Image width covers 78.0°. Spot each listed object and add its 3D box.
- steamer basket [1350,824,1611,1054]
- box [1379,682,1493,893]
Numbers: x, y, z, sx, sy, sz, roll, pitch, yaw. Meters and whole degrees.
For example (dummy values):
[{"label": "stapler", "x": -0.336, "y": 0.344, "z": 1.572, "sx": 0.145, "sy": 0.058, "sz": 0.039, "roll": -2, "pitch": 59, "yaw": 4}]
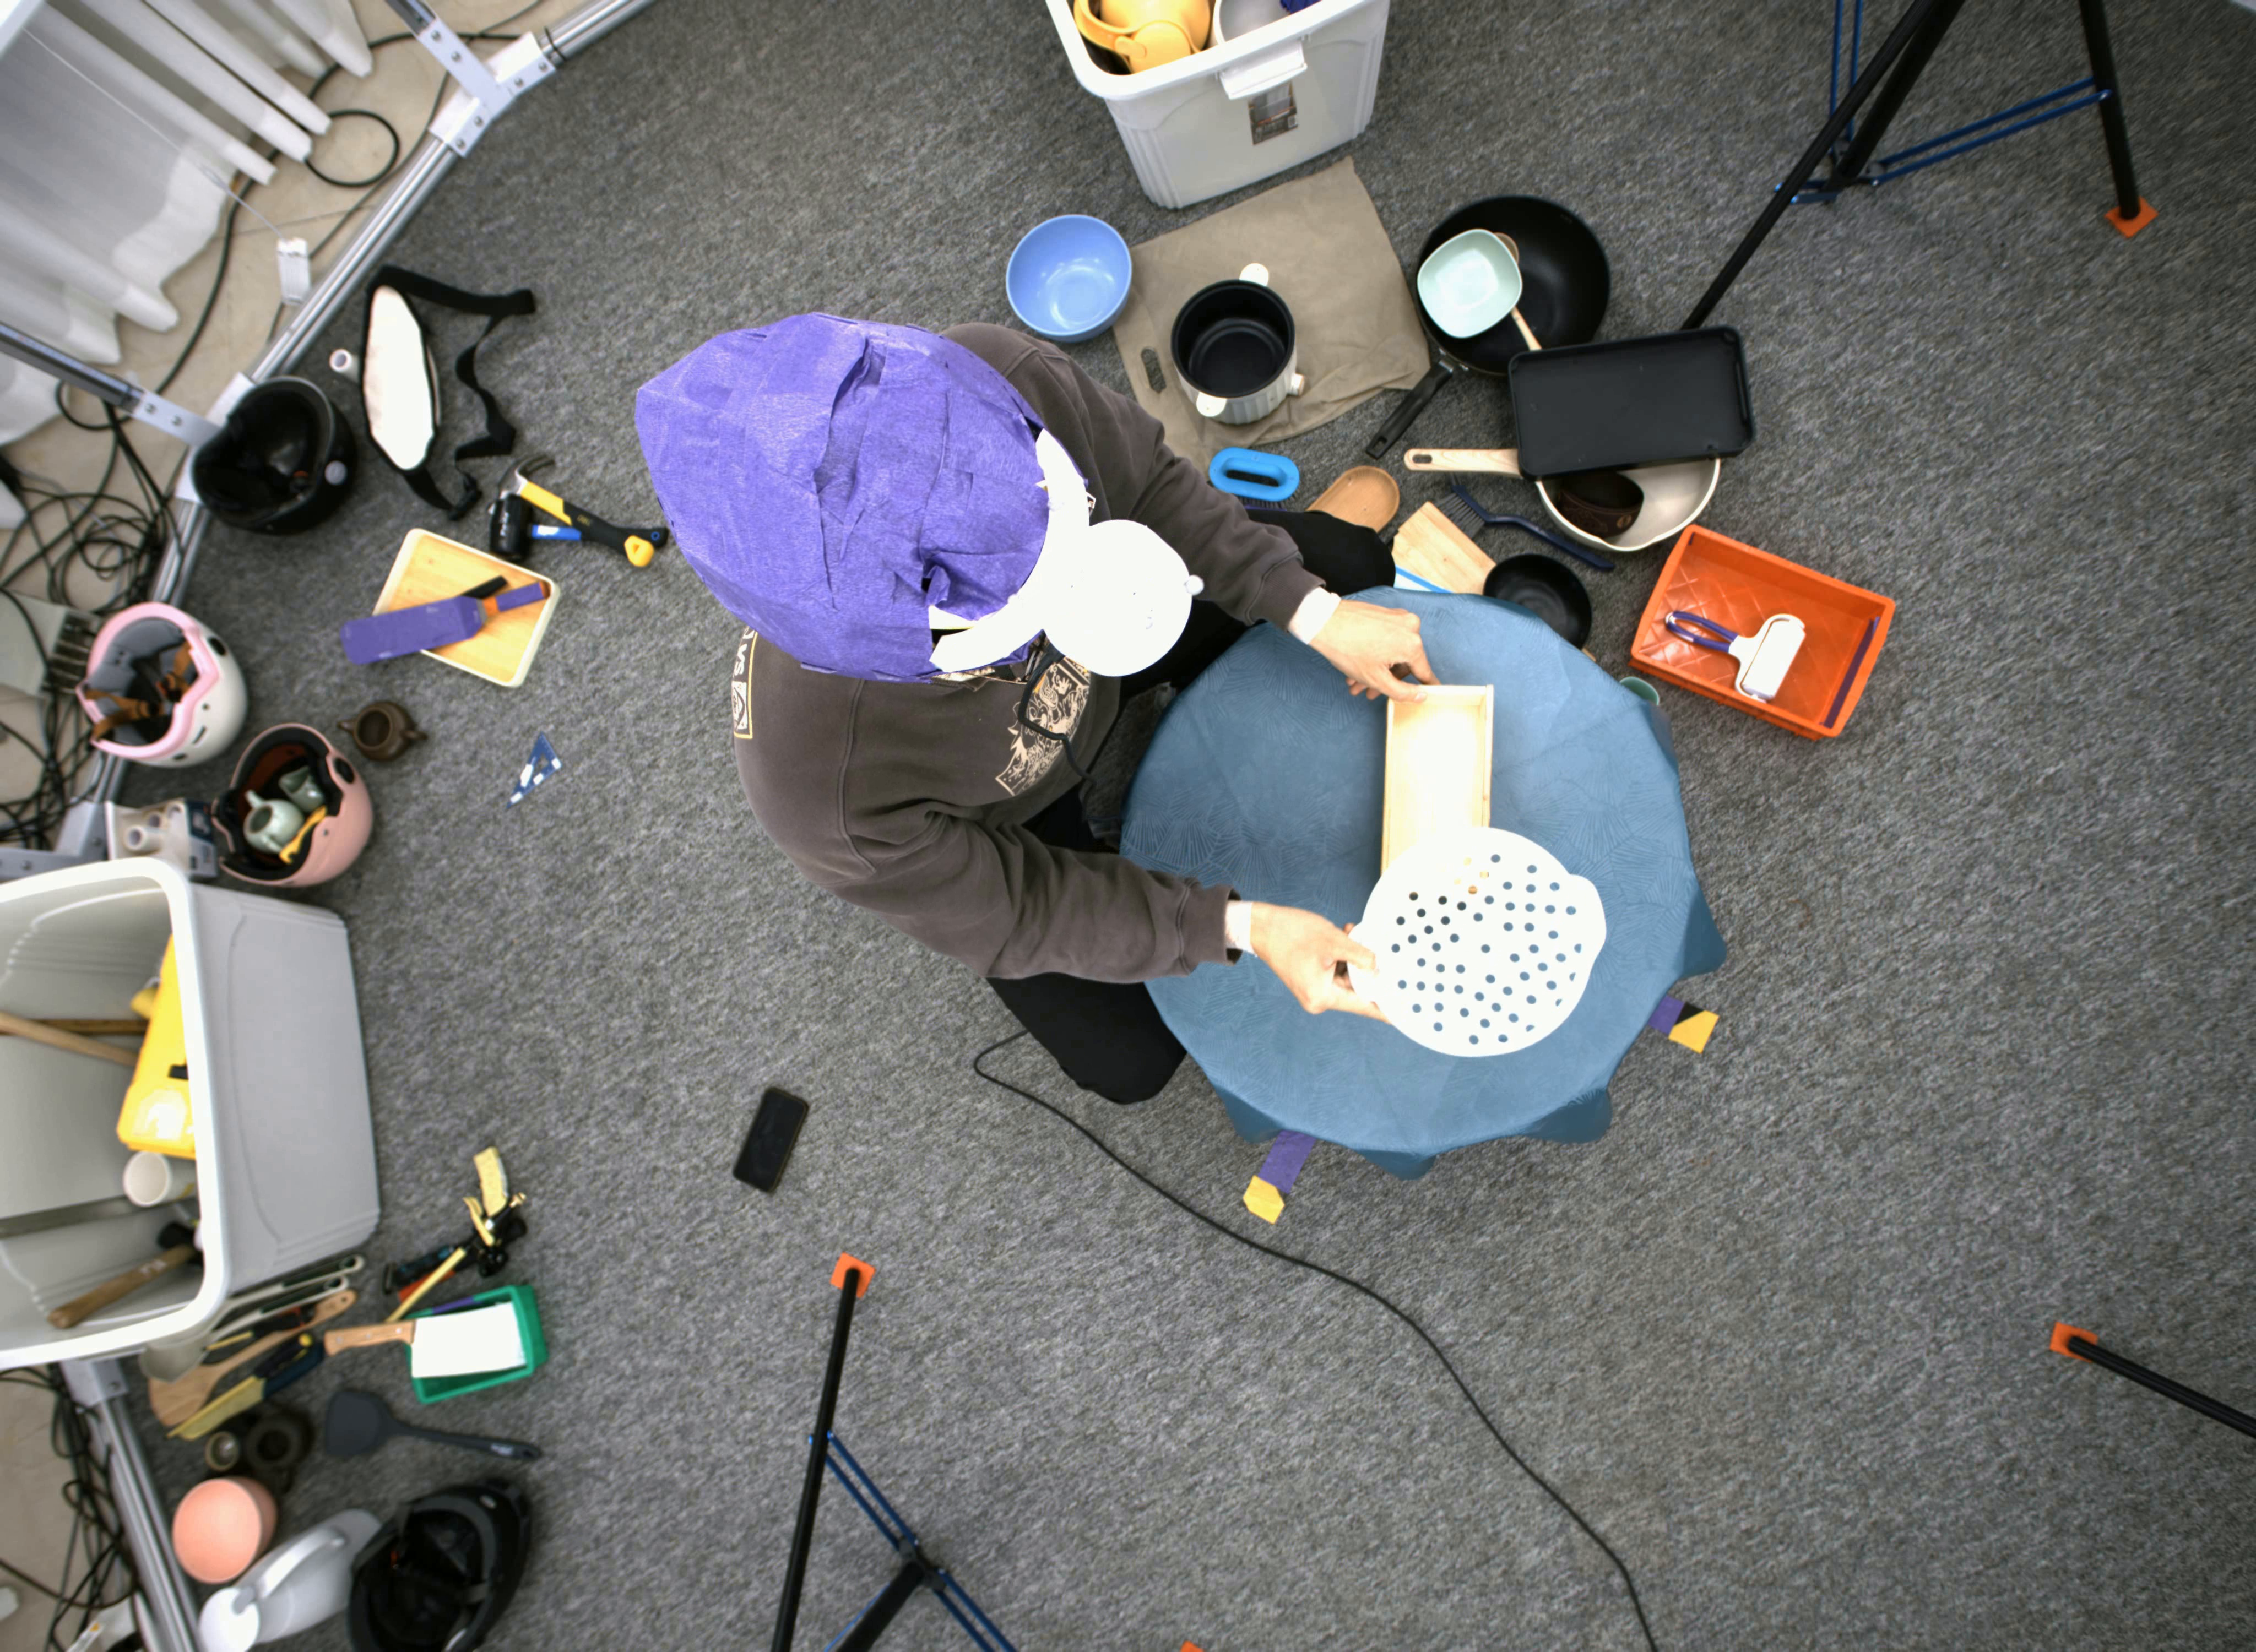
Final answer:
[{"label": "steamer basket", "x": 0.317, "y": 0.101, "z": 1.231, "sx": 0.233, "sy": 0.069, "sz": 0.199, "roll": -15, "pitch": 72, "yaw": 26}, {"label": "box", "x": 0.315, "y": -0.037, "z": 1.414, "sx": 0.108, "sy": 0.080, "sz": 0.210, "roll": 2, "pitch": 87, "yaw": 11}]
